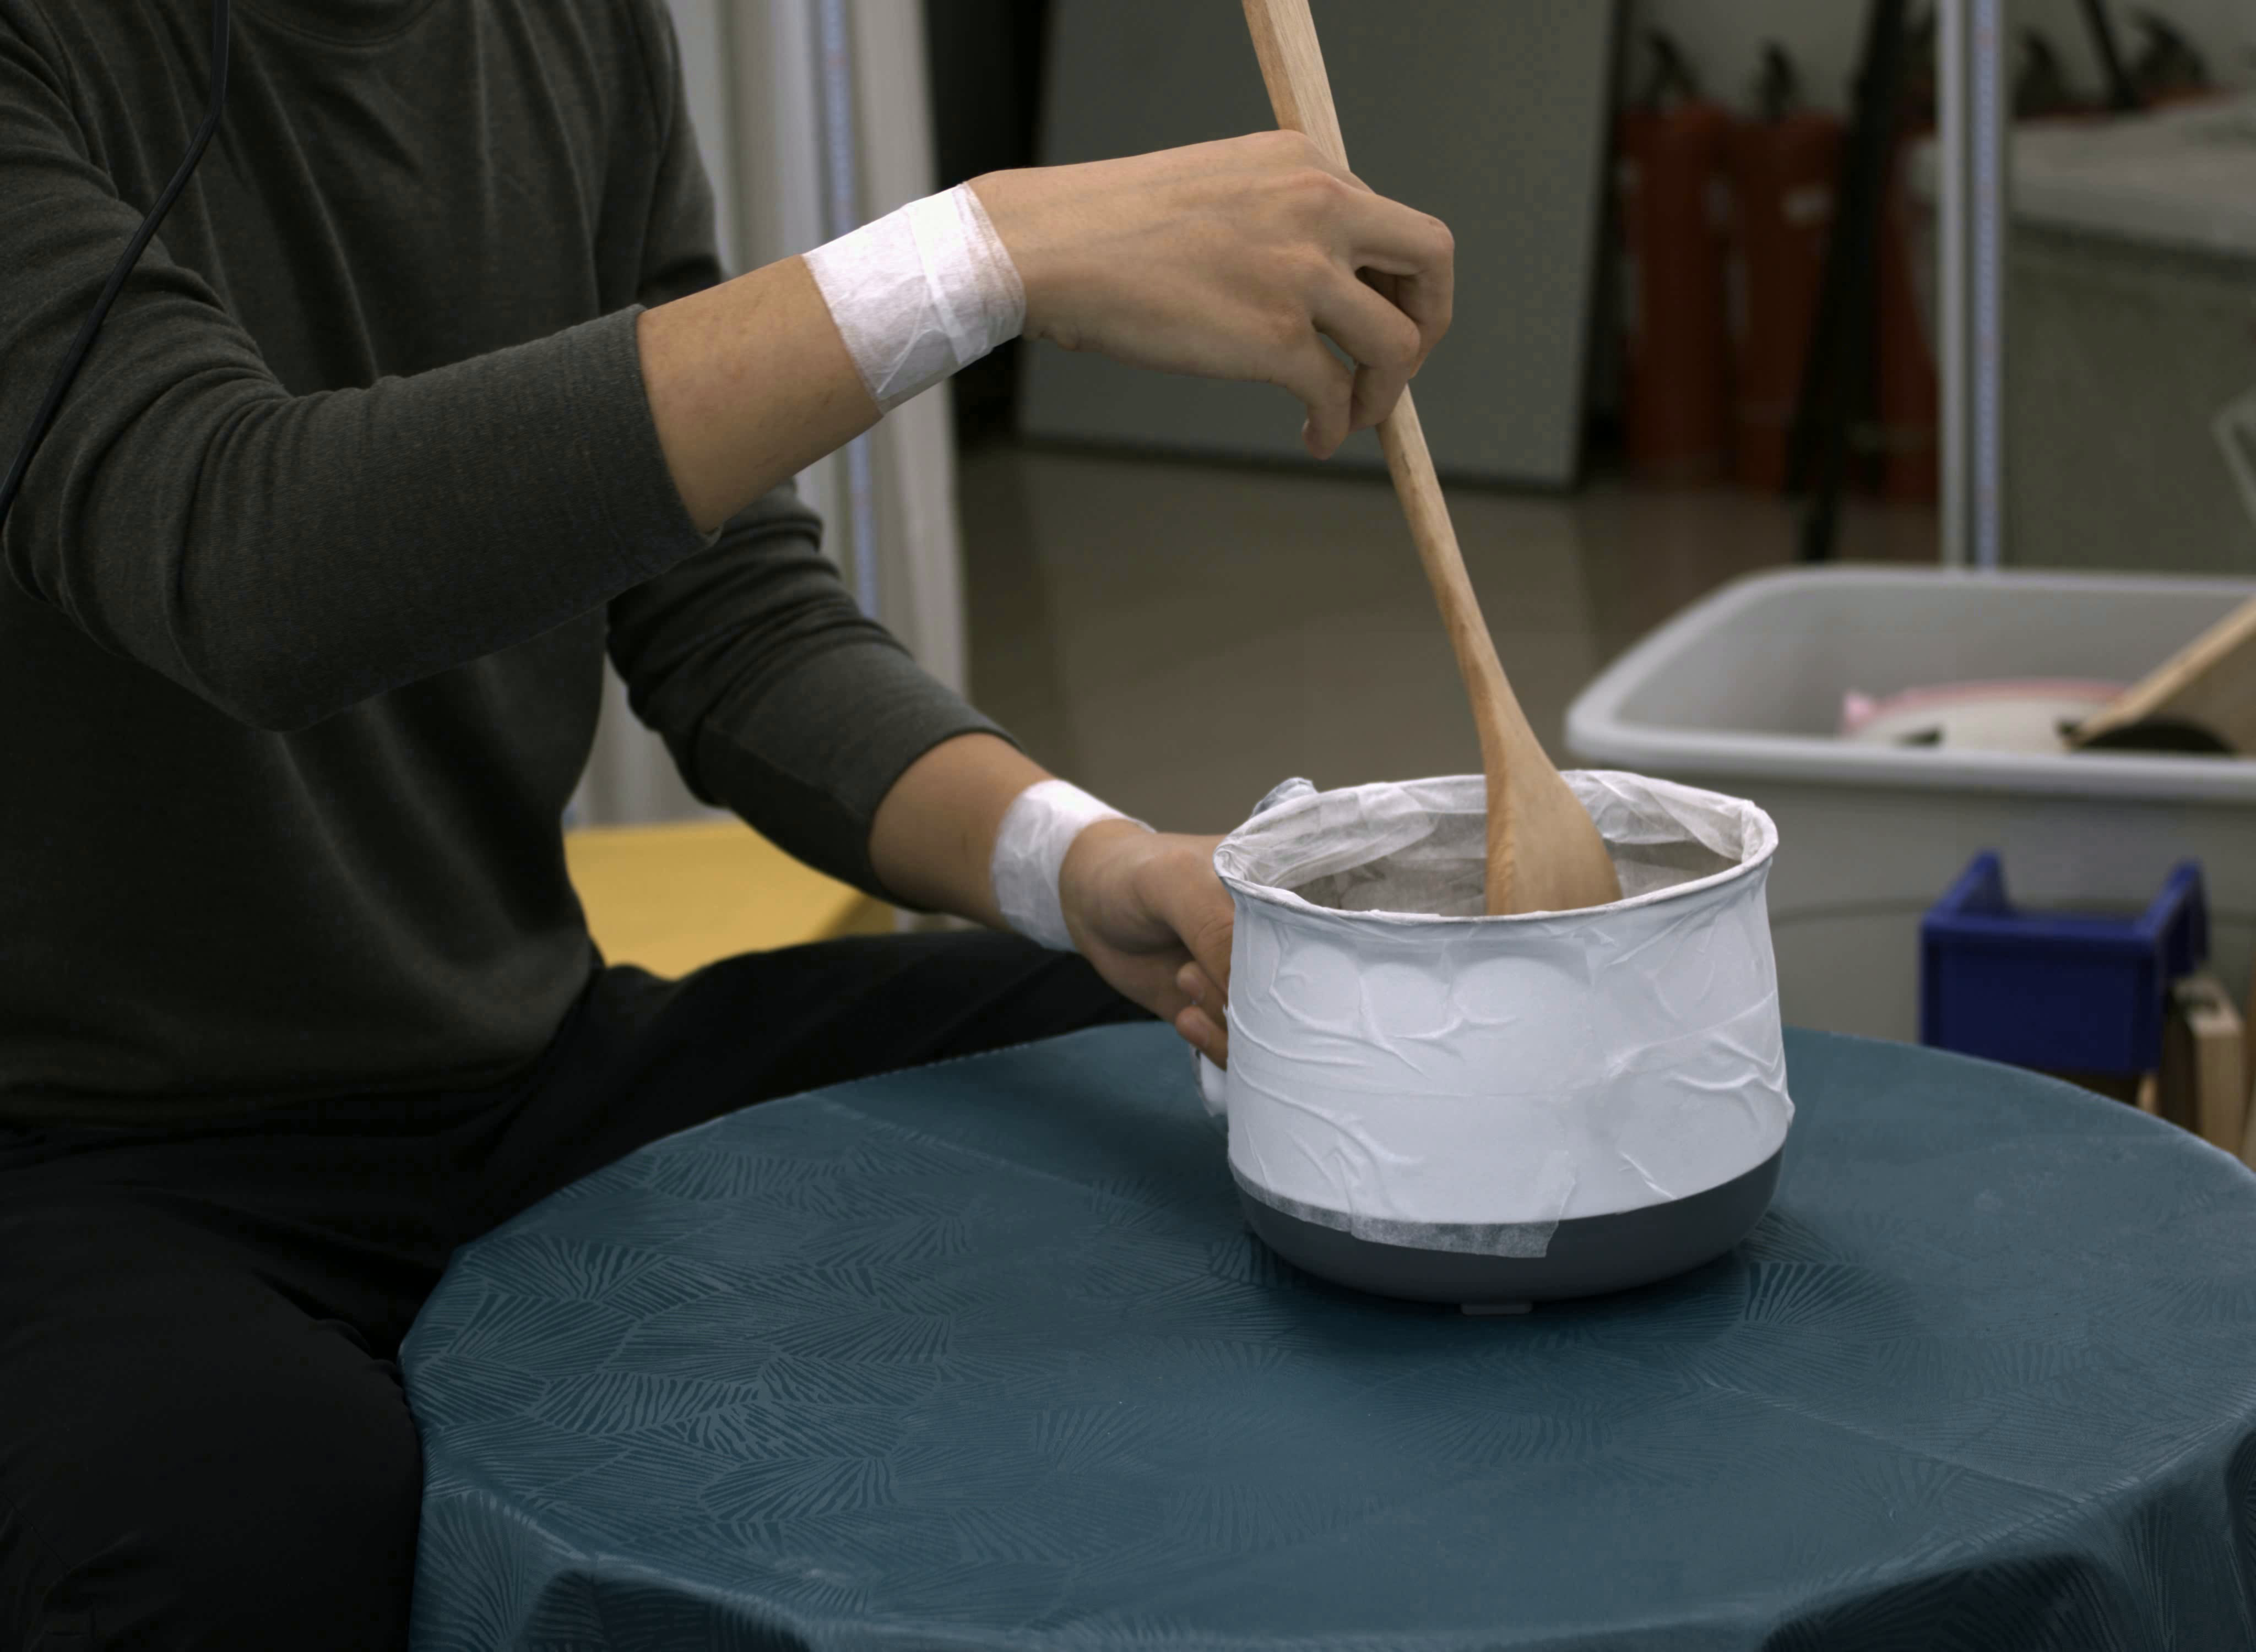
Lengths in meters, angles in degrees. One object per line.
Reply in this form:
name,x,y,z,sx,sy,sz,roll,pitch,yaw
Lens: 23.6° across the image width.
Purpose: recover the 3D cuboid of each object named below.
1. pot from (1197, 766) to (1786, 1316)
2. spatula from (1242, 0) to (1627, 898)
pot,0.100,0.061,1.703,0.175,0.138,0.236,-13,16,-36
spatula,0.093,-0.108,1.671,0.018,0.394,0.094,-15,7,29
